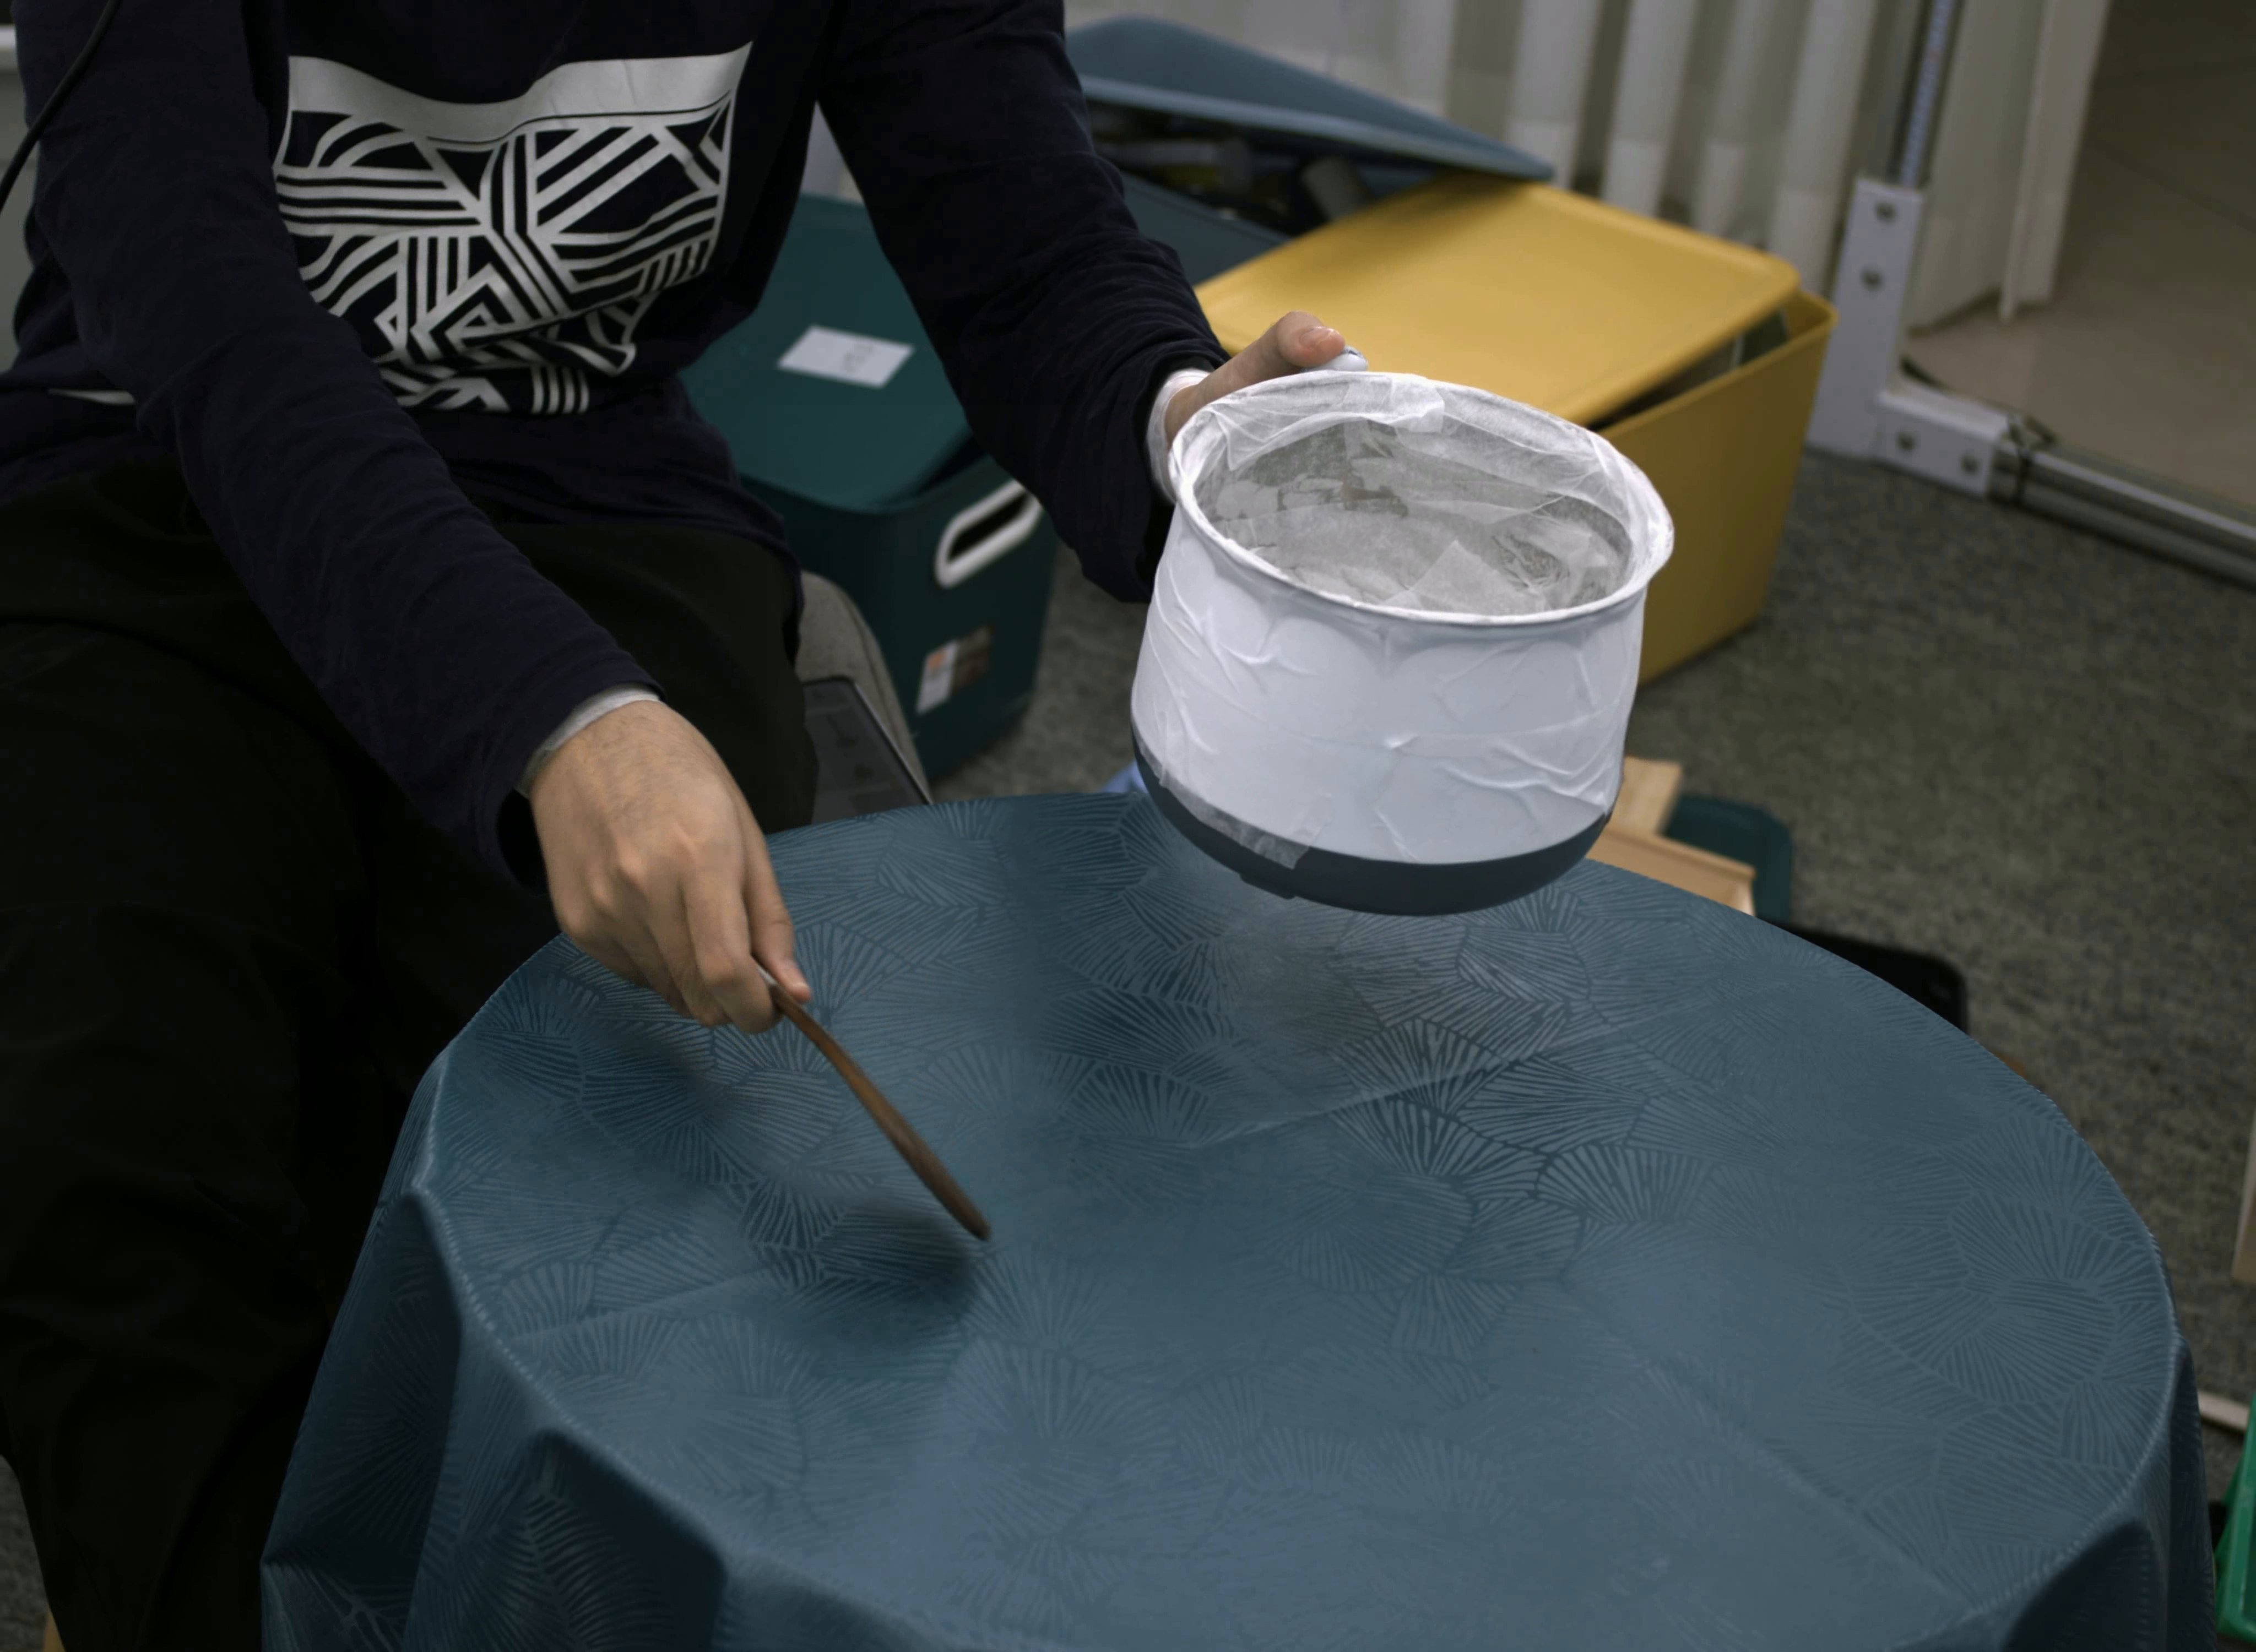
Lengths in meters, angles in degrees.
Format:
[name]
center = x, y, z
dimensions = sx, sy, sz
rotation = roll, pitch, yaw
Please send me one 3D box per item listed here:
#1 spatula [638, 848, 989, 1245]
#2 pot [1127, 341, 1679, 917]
[spatula]
center = -0.109, 0.071, 1.789
dimensions = 0.009, 0.071, 0.218
rotation = -44, 50, -2
[pot]
center = 0.086, -0.078, 1.895
dimensions = 0.177, 0.136, 0.236
rotation = 0, 33, -18
